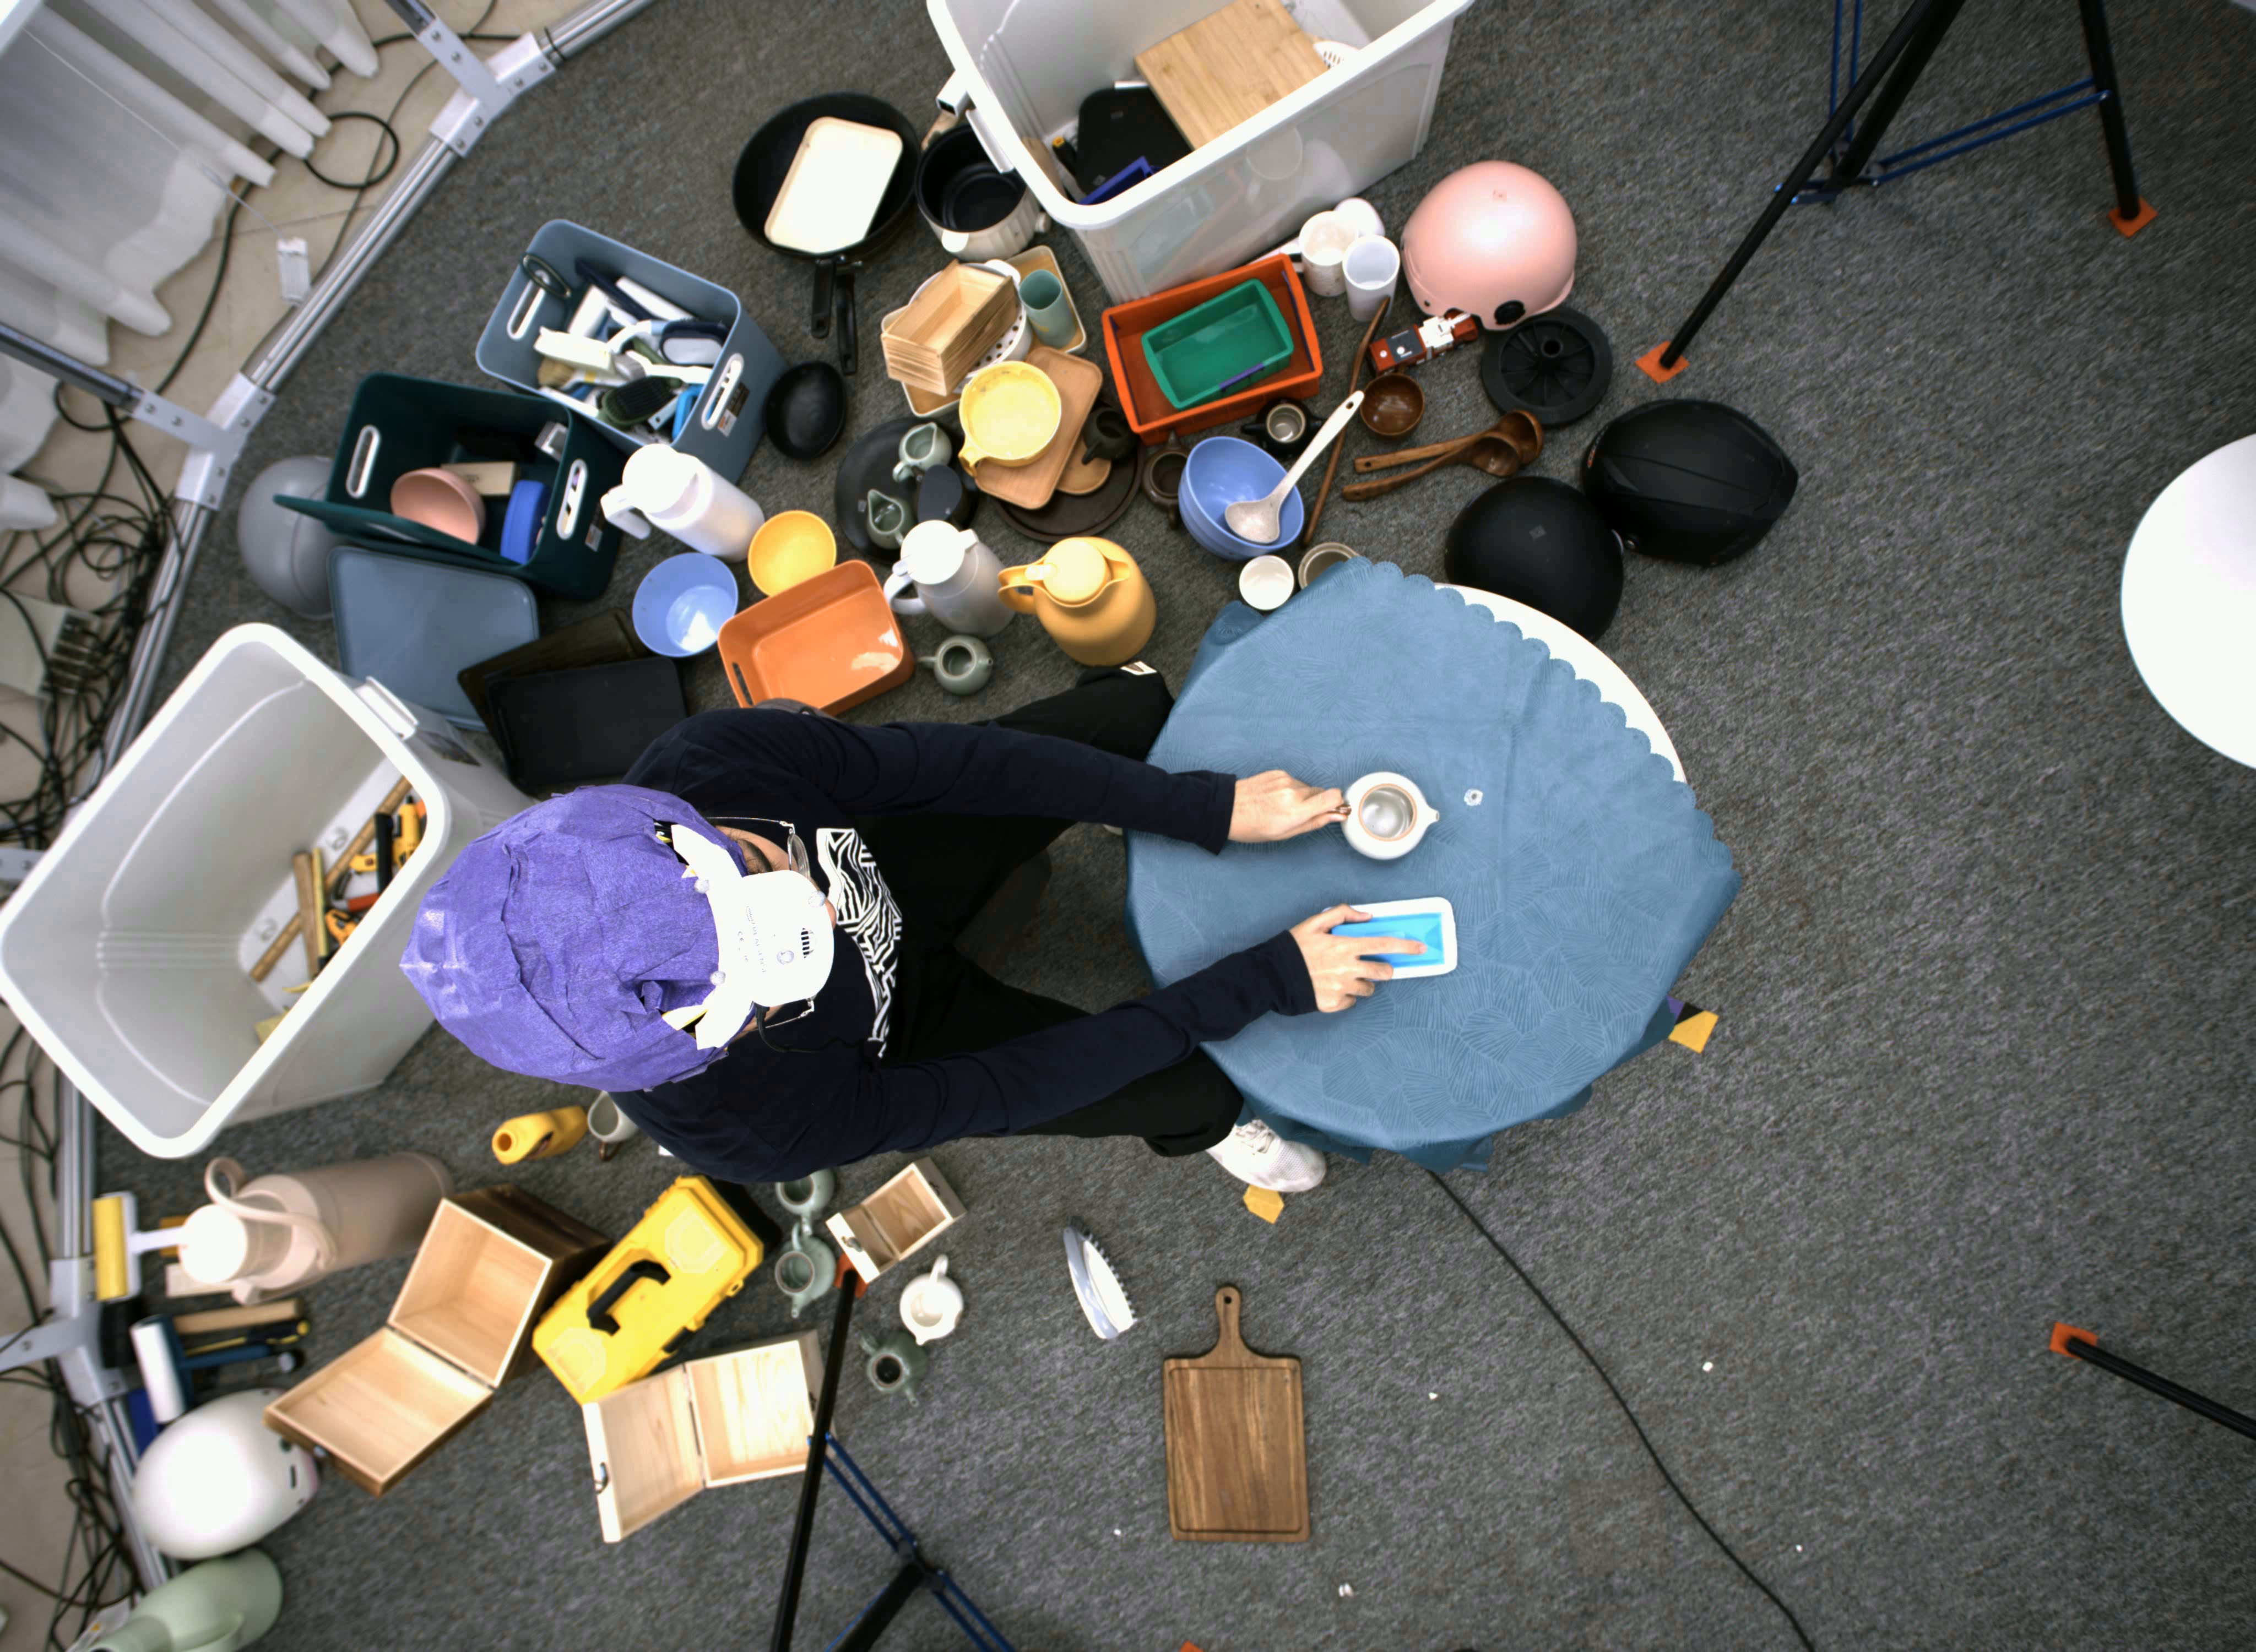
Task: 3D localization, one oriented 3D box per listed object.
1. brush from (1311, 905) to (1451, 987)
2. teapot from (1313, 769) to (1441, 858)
[{"bbox_3d":[0.261,0.120,1.427,0.144,0.056,0.083,-4,82,8],"label":"brush"},{"bbox_3d":[0.256,-0.015,1.431,0.128,0.059,0.091,2,88,1],"label":"teapot"}]
